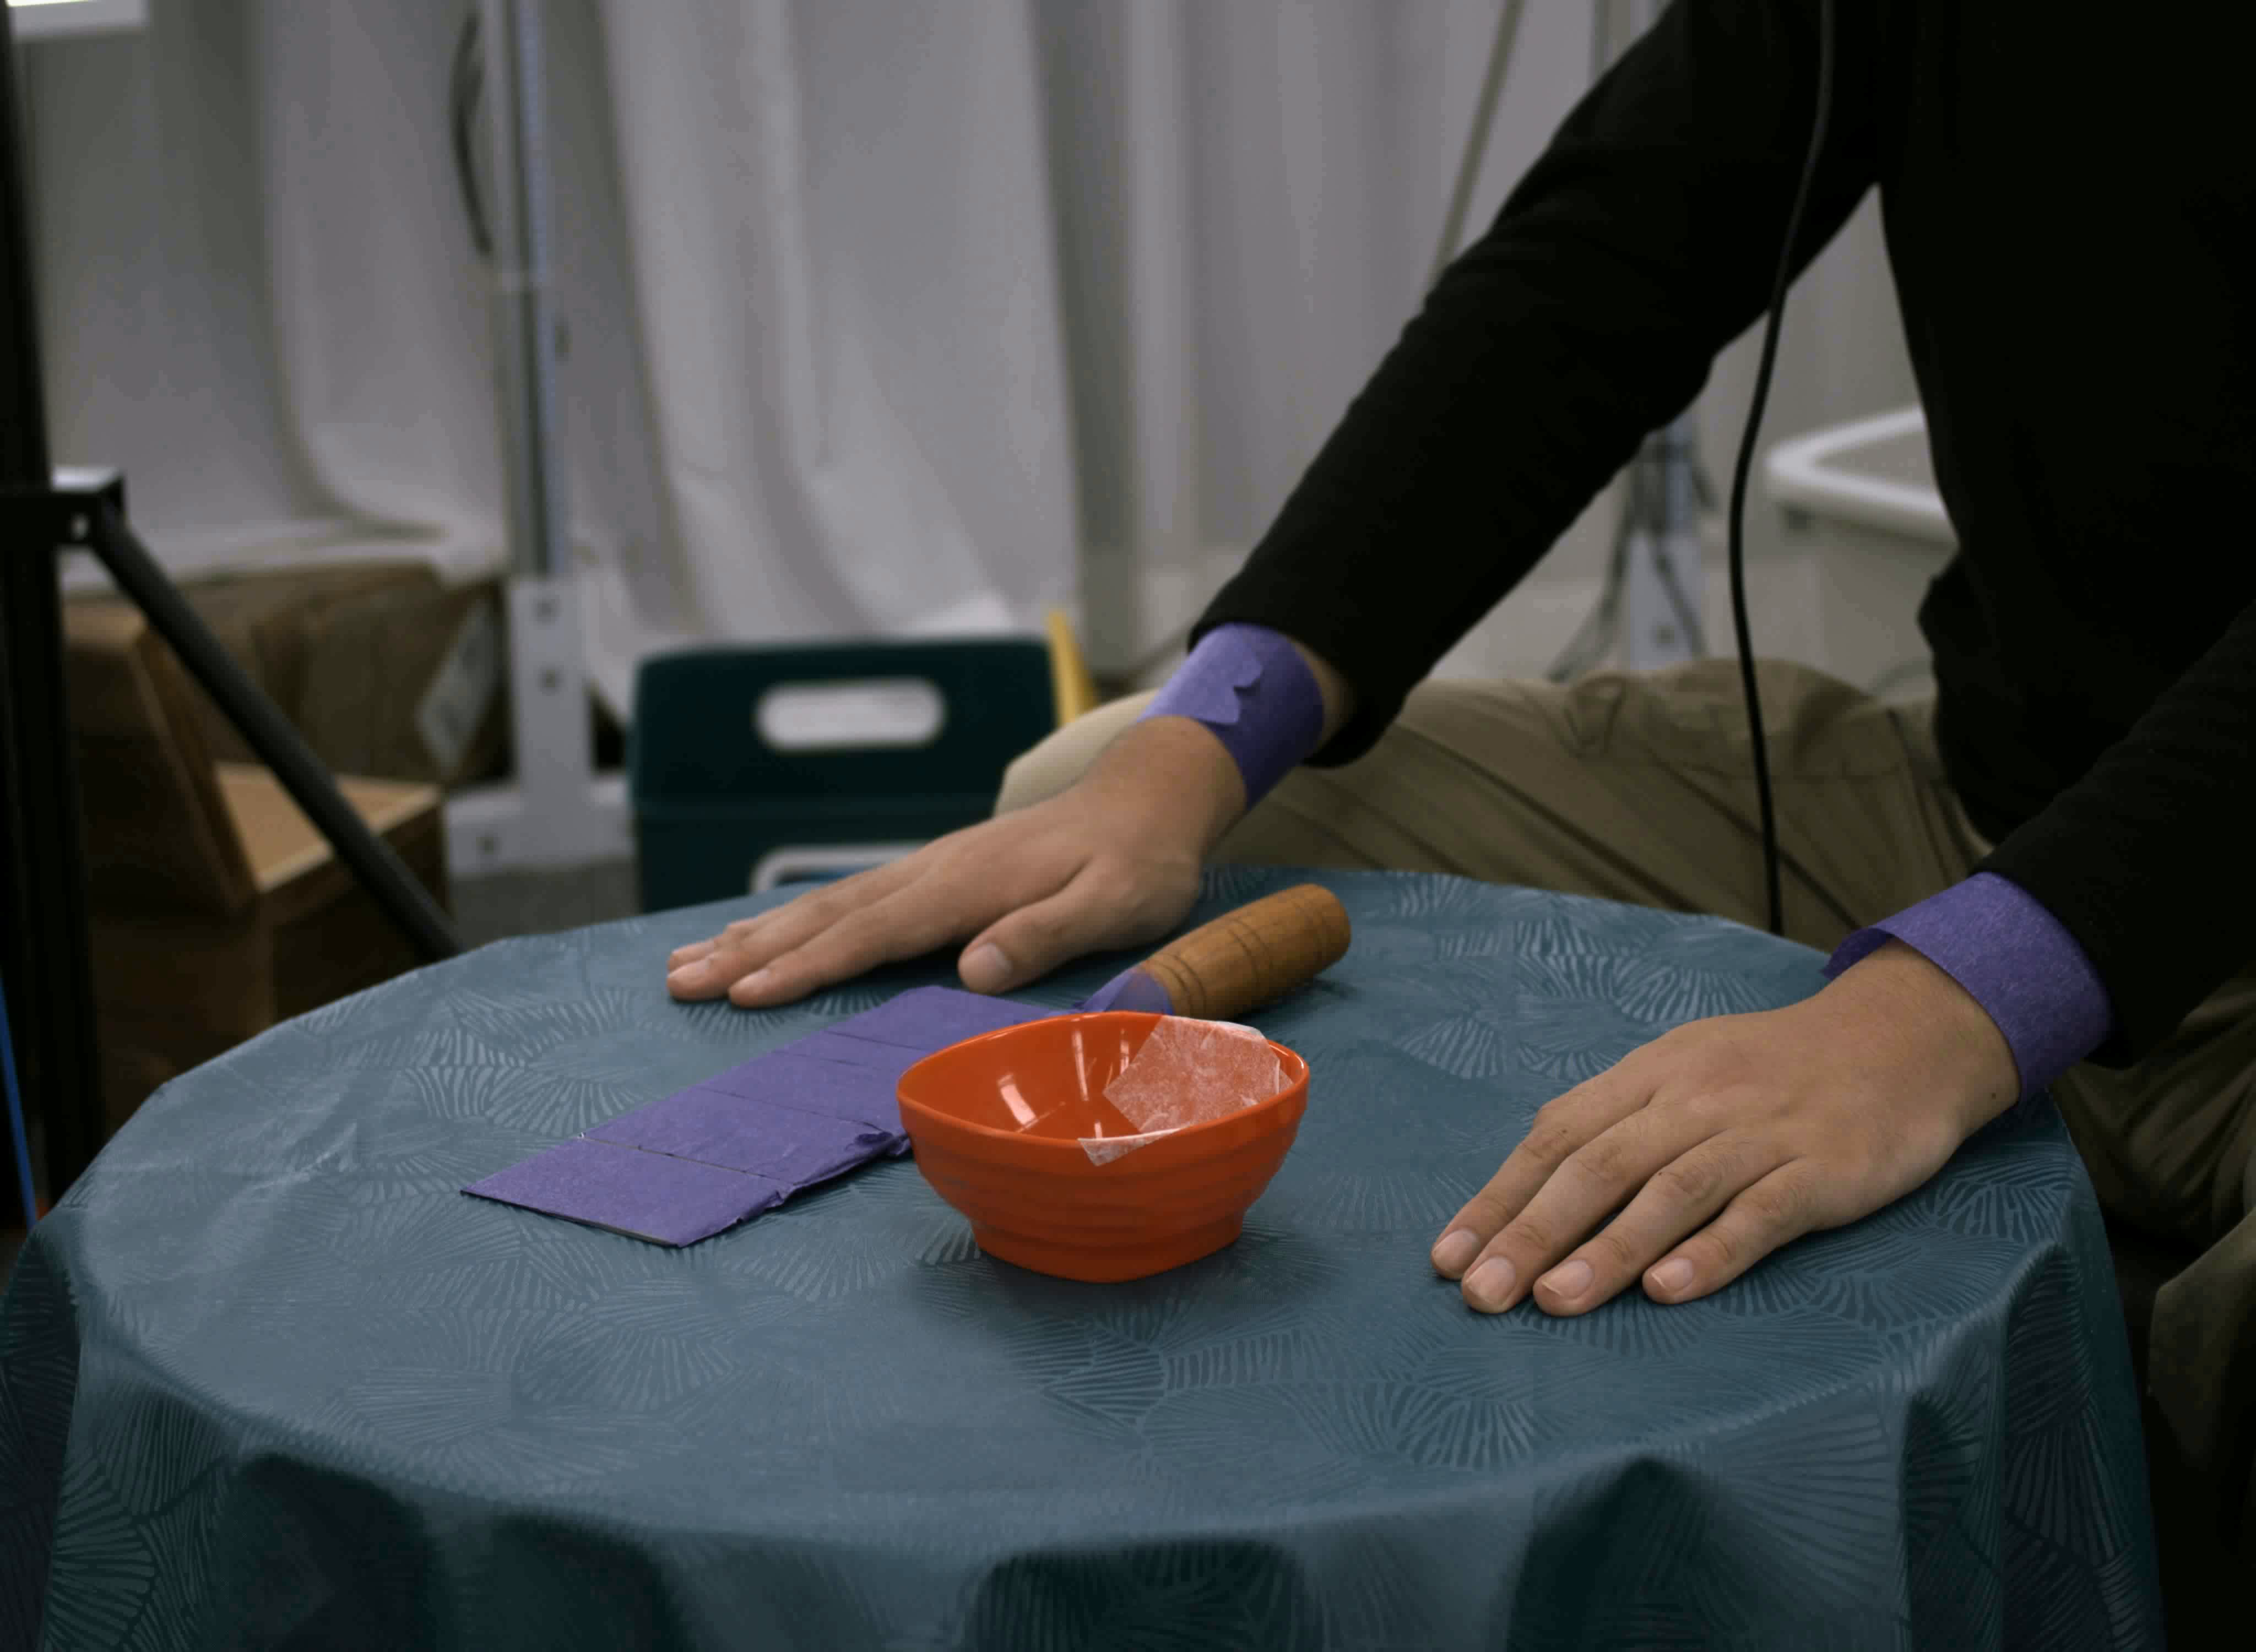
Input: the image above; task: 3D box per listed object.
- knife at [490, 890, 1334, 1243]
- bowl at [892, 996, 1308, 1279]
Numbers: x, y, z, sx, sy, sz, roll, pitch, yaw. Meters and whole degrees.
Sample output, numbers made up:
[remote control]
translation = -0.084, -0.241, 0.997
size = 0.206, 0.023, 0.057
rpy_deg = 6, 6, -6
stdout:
[knife]
translation = -0.064, 0.069, 1.657
size = 0.106, 0.032, 0.308
rpy_deg = 11, 22, 39
[bowl]
translation = -0.006, 0.091, 1.510
size = 0.118, 0.051, 0.119
rpy_deg = -6, 17, 0
